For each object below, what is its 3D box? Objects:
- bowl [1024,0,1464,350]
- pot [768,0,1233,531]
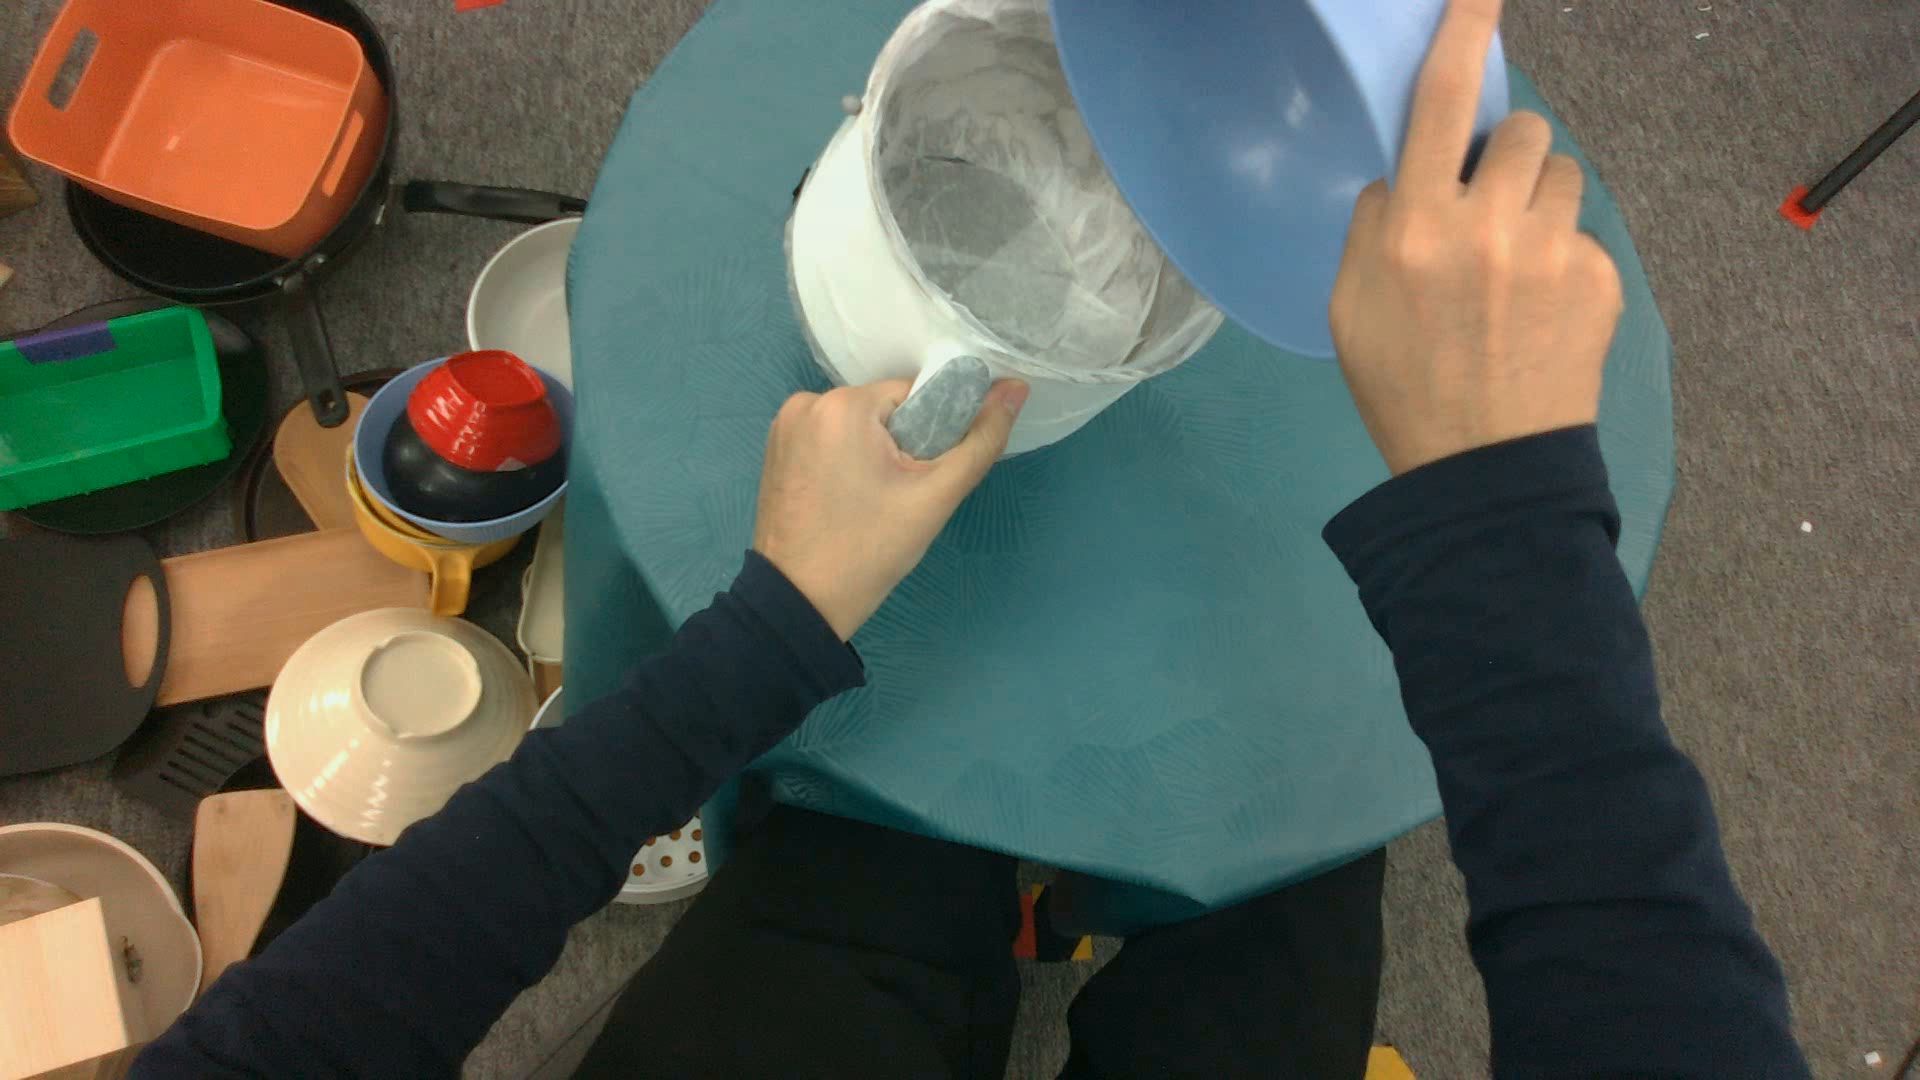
[{"bbox_3d":[0.116,-0.178,0.509,0.095,0.196,0.196,-33,76,-9],"label":"bowl"},{"bbox_3d":[0.003,-0.115,0.609,0.179,0.136,0.234,29,65,-14],"label":"pot"}]
